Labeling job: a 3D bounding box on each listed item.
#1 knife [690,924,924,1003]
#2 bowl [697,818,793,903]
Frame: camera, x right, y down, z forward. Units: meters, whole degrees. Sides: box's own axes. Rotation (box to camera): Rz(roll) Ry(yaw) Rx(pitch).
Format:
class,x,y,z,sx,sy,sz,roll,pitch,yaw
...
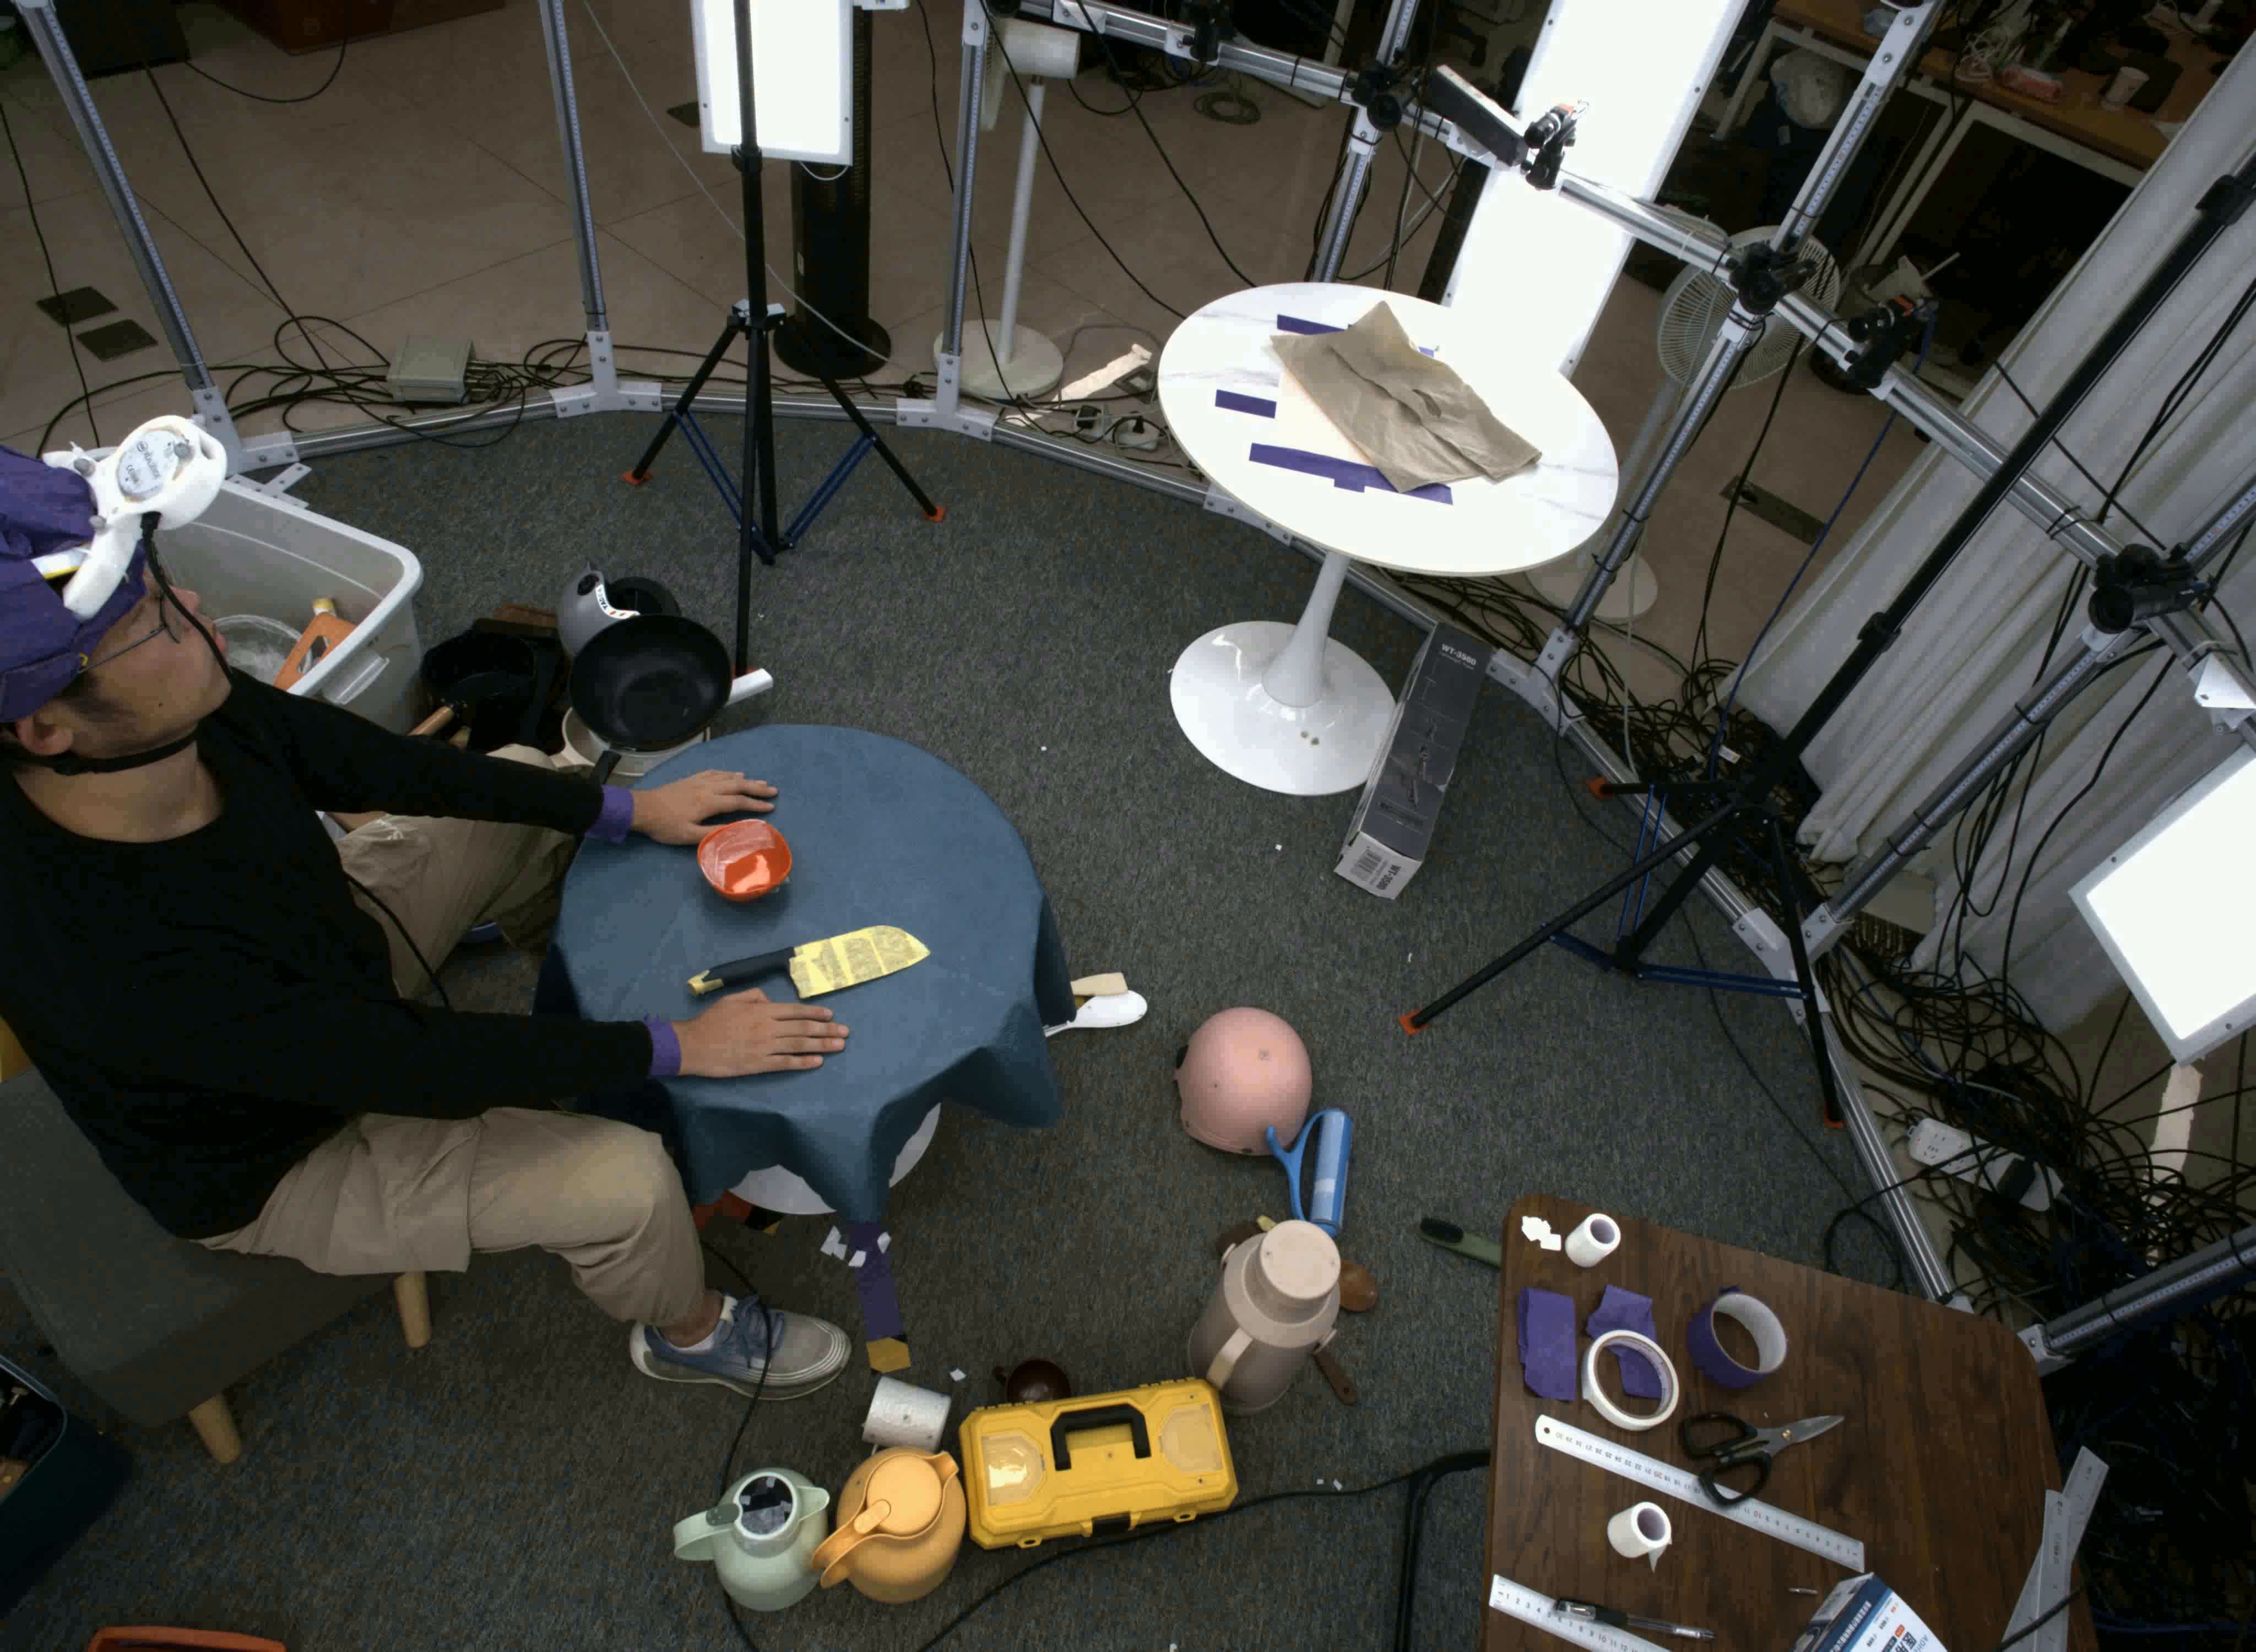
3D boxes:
class,x,y,z,sx,sy,sz,roll,pitch,yaw
knife,-0.388,0.174,1.592,0.291,0.028,0.079,-13,56,-24
bowl,-0.483,0.050,1.634,0.119,0.052,0.117,9,53,-10
